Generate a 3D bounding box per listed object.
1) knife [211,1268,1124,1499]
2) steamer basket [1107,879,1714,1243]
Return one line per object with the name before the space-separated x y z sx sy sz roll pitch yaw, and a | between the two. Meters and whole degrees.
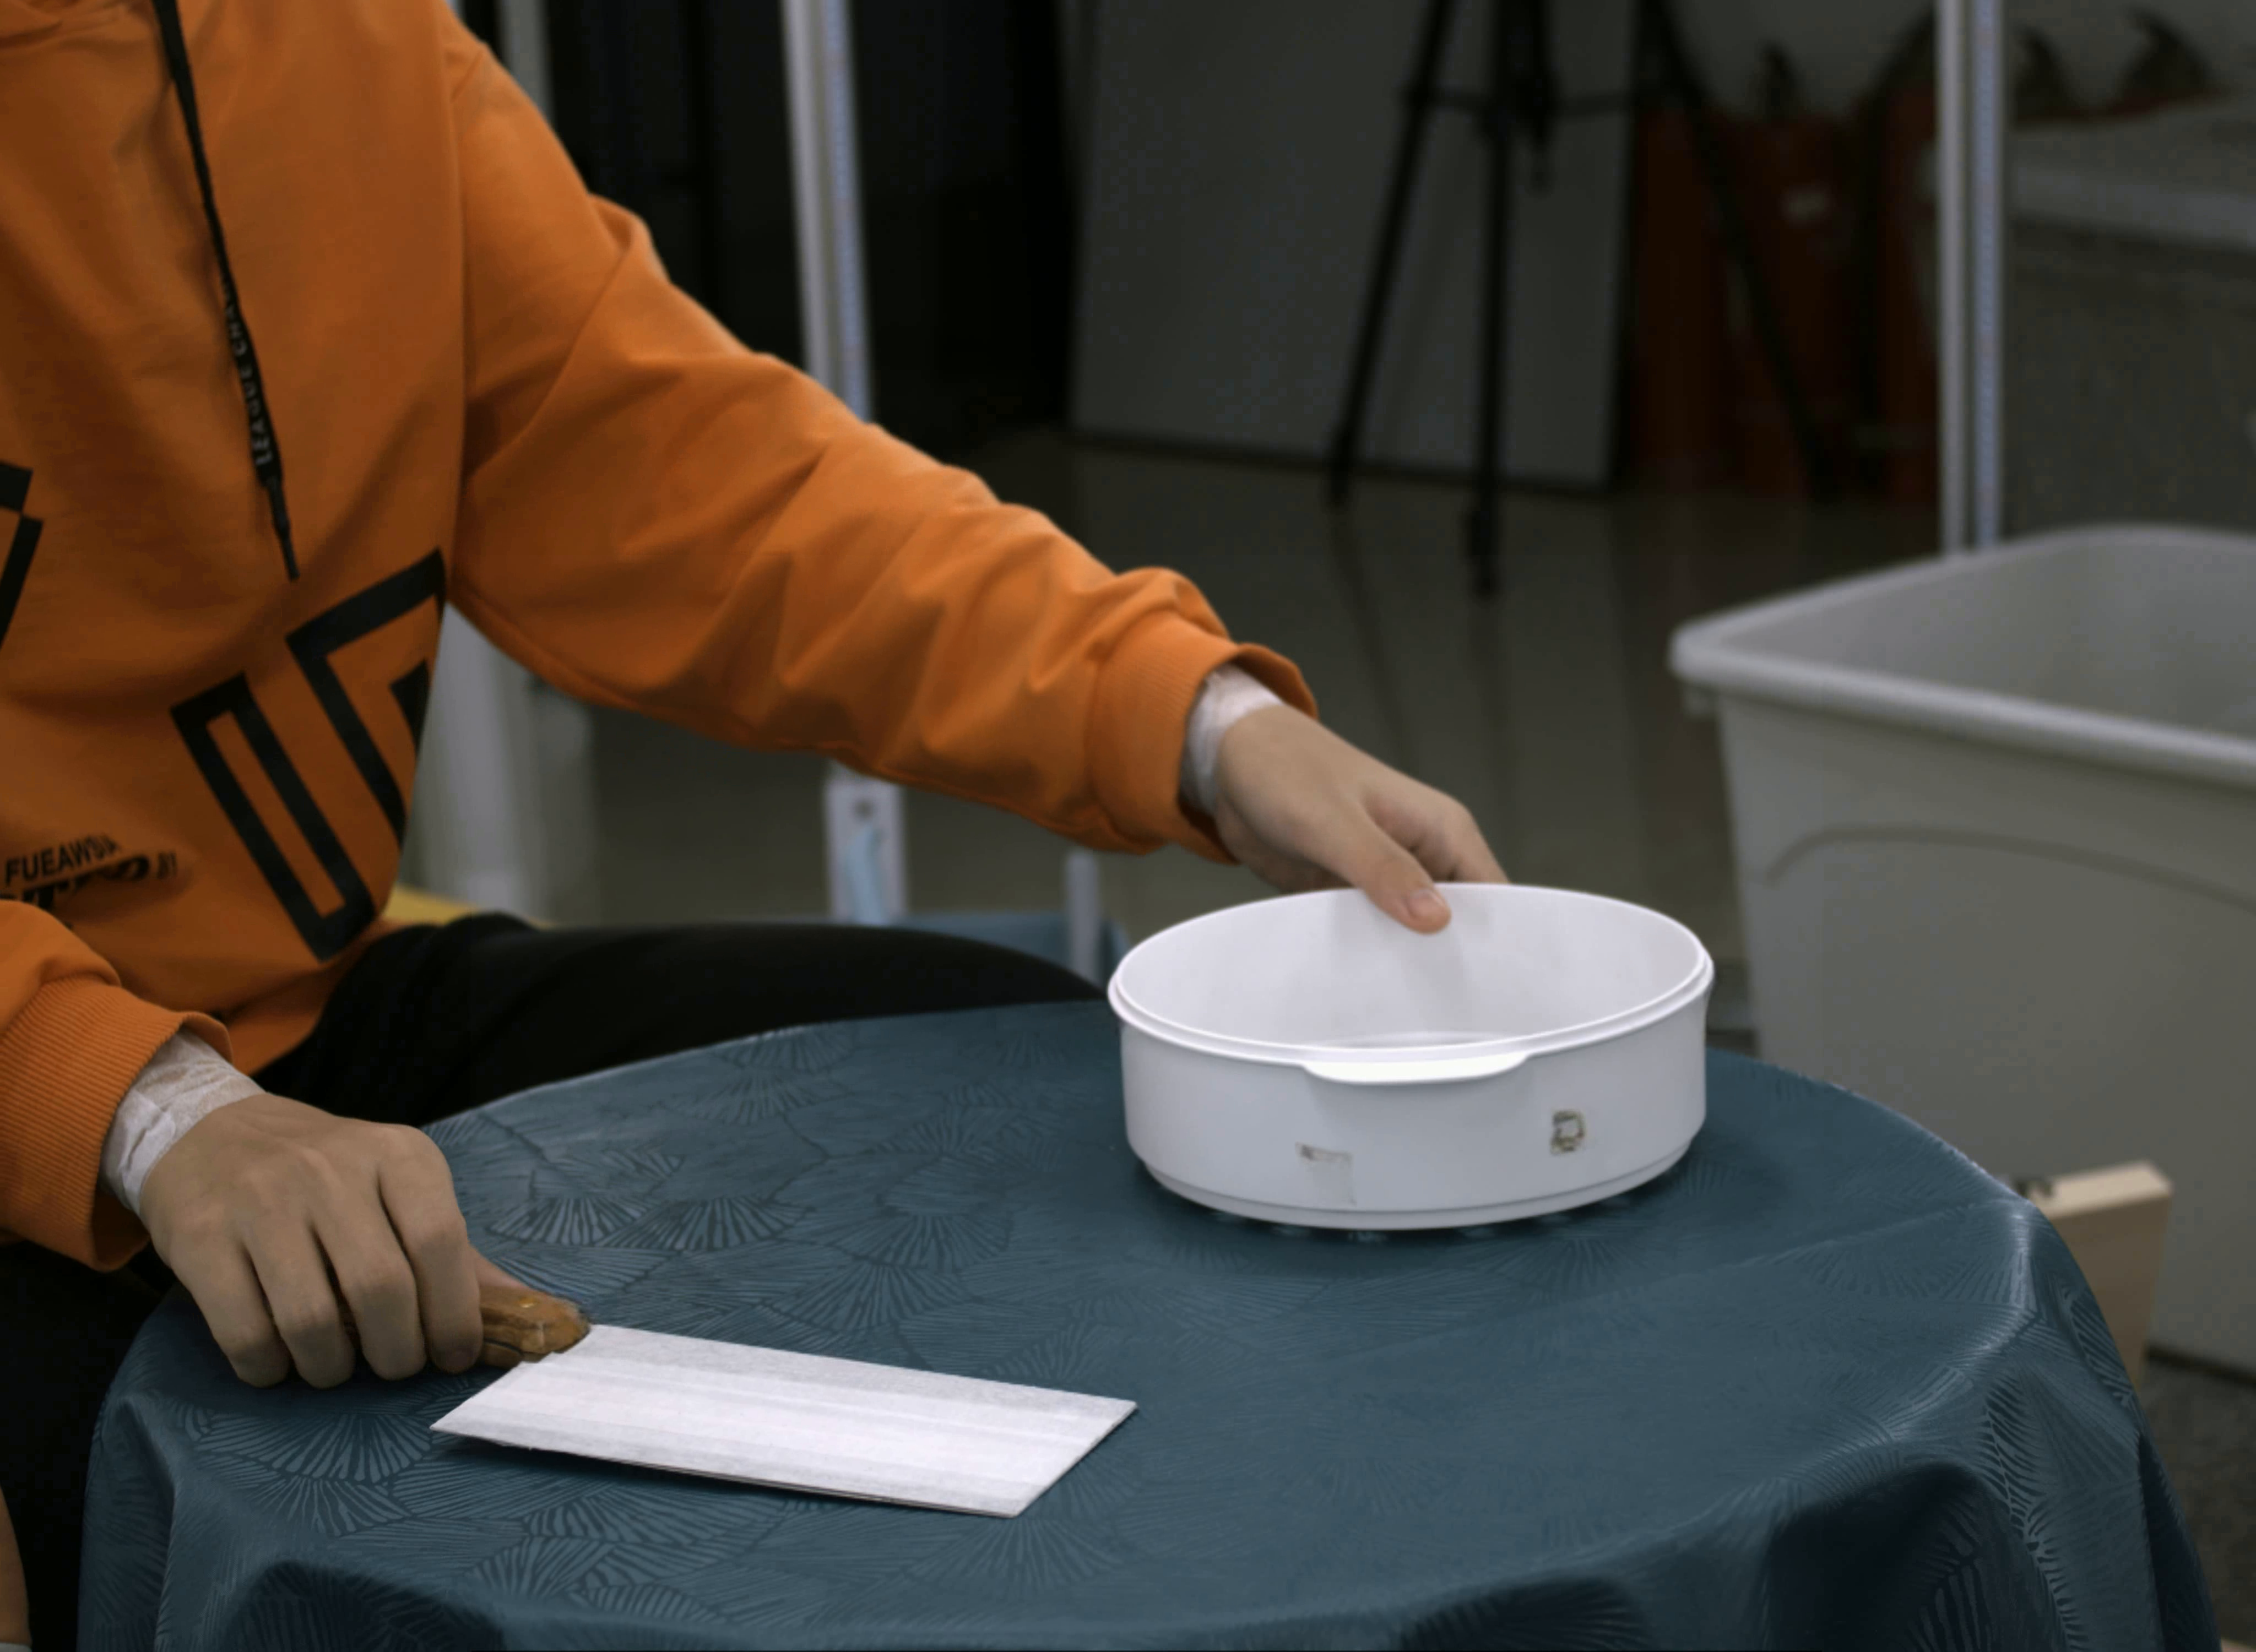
knife | -0.151 0.167 1.596 0.306 0.021 0.092 5 18 25
steamer basket | 0.094 0.077 1.775 0.199 0.070 0.230 -4 16 3
